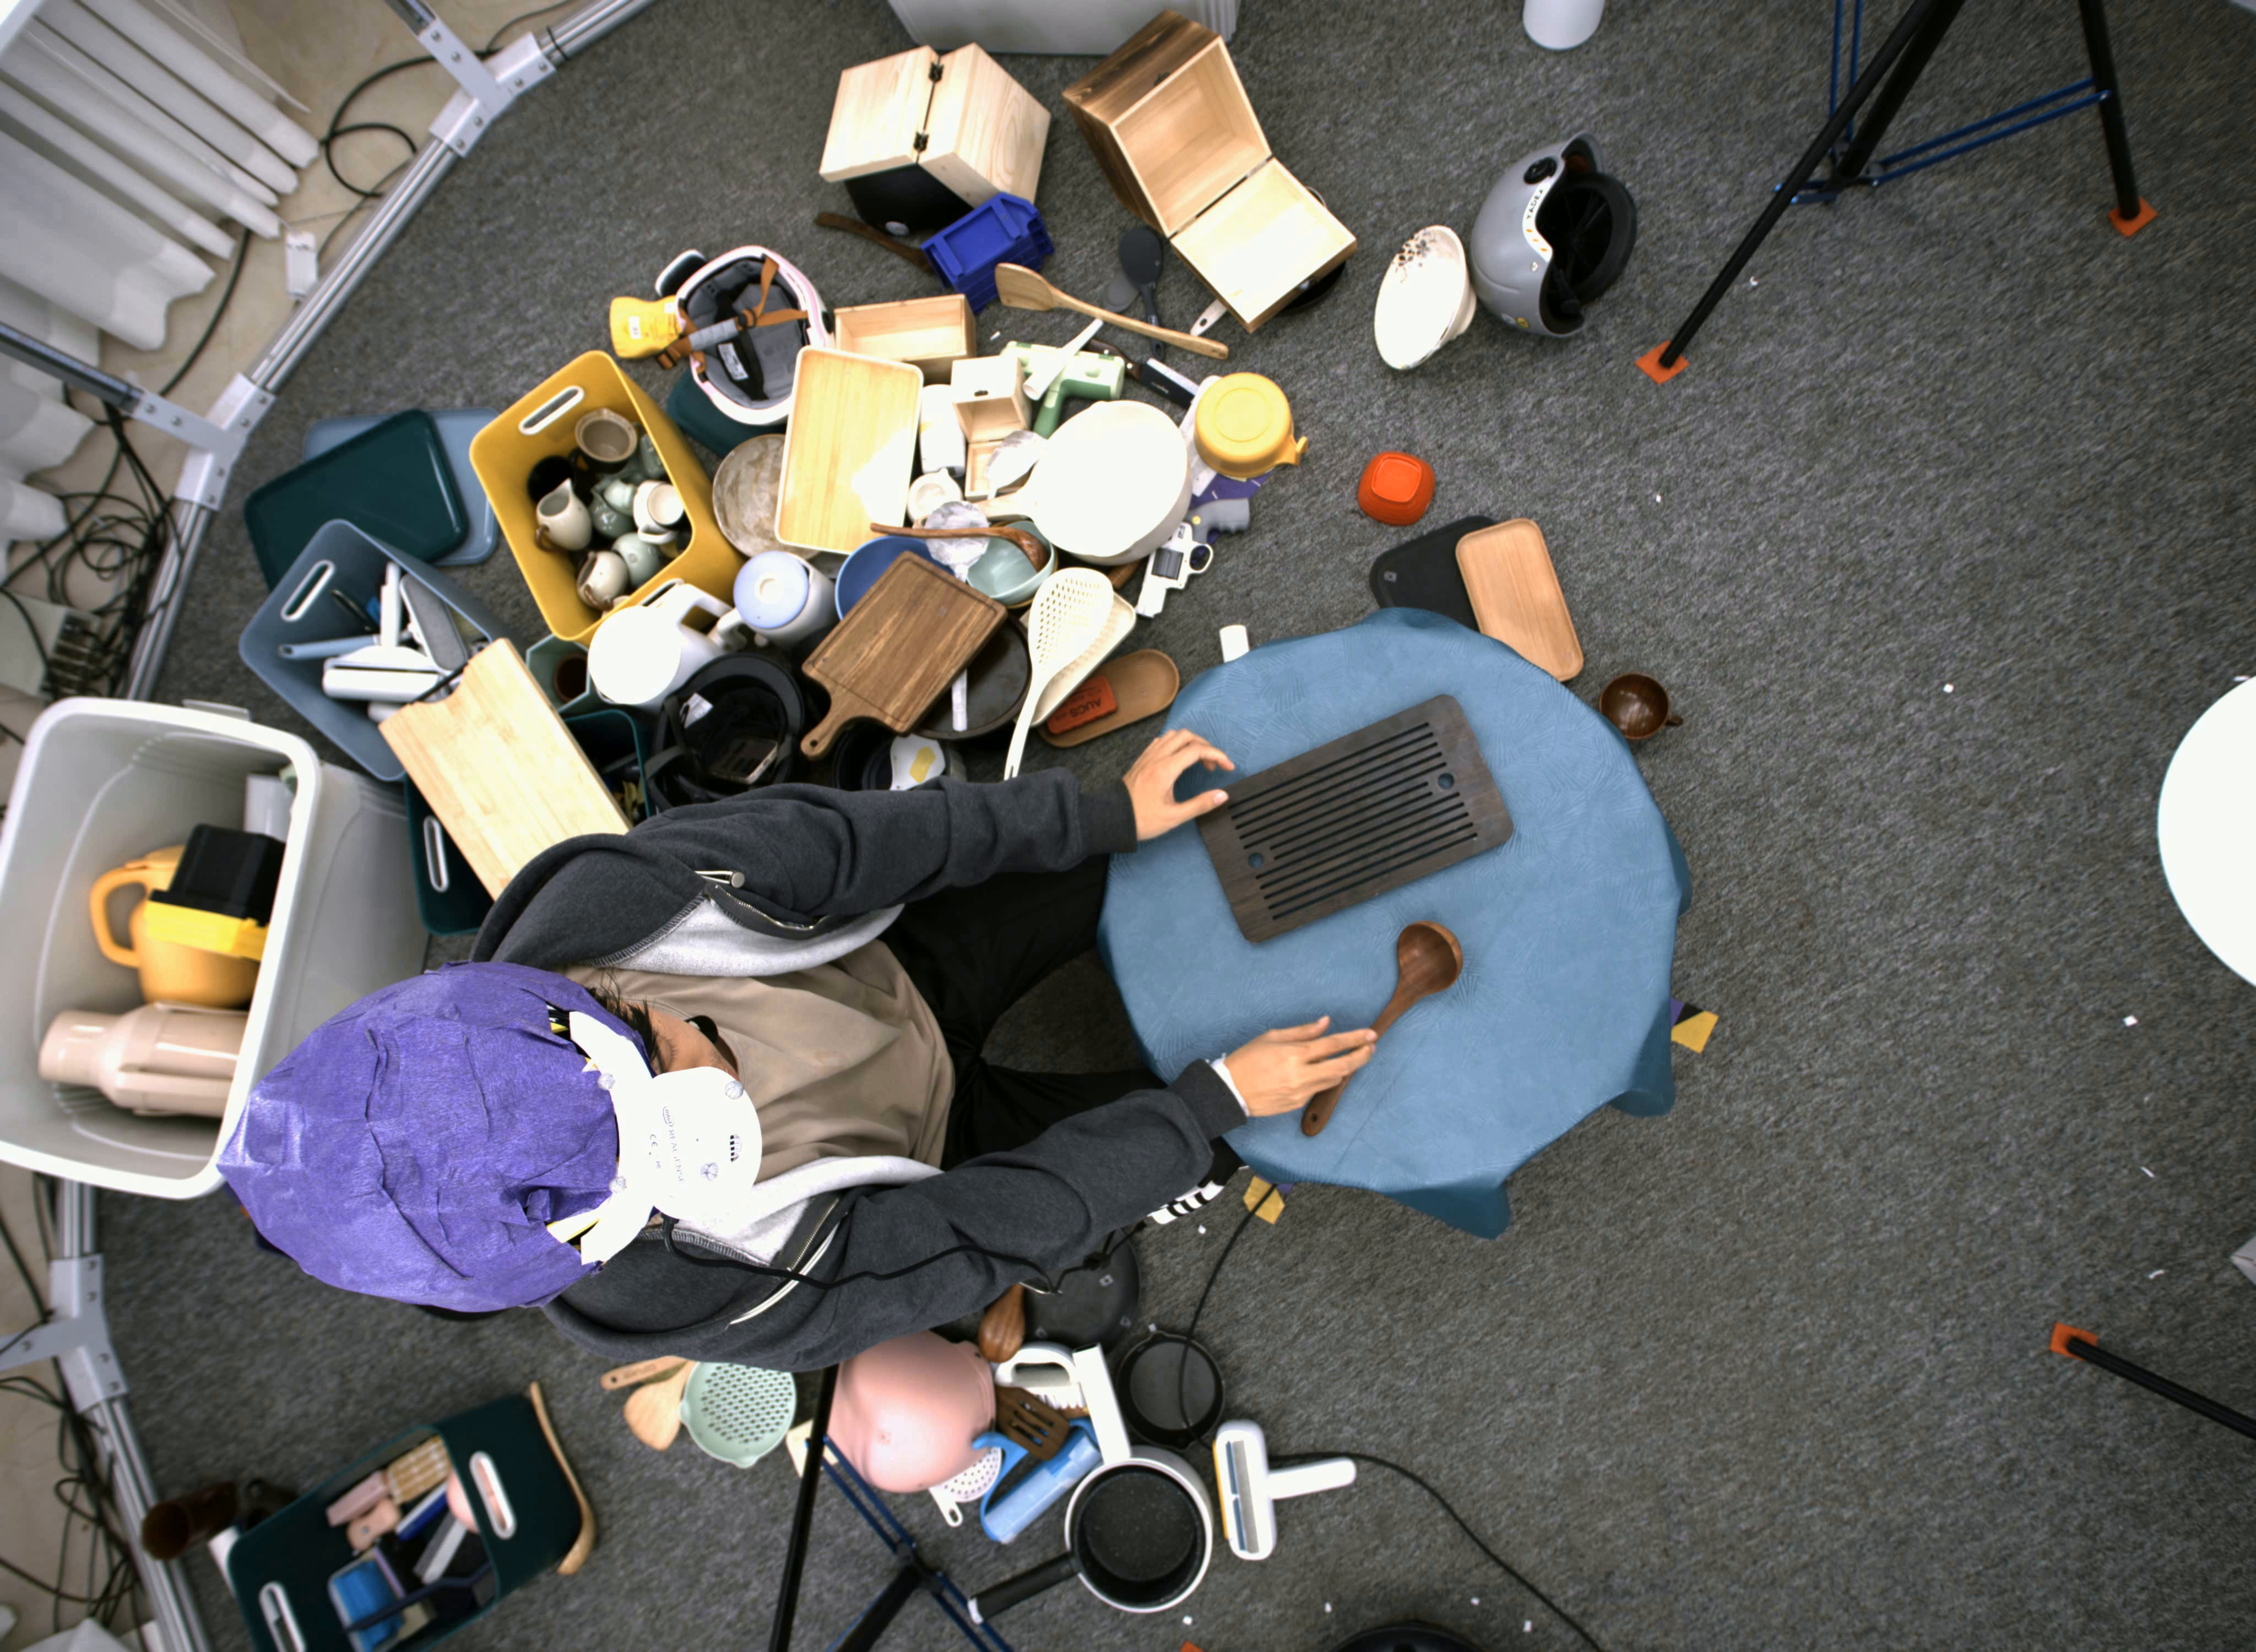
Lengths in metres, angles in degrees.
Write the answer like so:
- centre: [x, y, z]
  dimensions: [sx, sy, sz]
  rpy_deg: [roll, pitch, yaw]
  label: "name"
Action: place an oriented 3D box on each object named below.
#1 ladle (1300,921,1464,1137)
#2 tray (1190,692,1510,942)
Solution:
- centre: [0.251, 0.210, 1.423]
  dimensions: [0.075, 0.065, 0.261]
  rpy_deg: [40, 95, 36]
  label: "ladle"
- centre: [0.233, -0.010, 1.462]
  dimensions: [0.308, 0.018, 0.169]
  rpy_deg: [-23, 83, 9]
  label: "tray"
